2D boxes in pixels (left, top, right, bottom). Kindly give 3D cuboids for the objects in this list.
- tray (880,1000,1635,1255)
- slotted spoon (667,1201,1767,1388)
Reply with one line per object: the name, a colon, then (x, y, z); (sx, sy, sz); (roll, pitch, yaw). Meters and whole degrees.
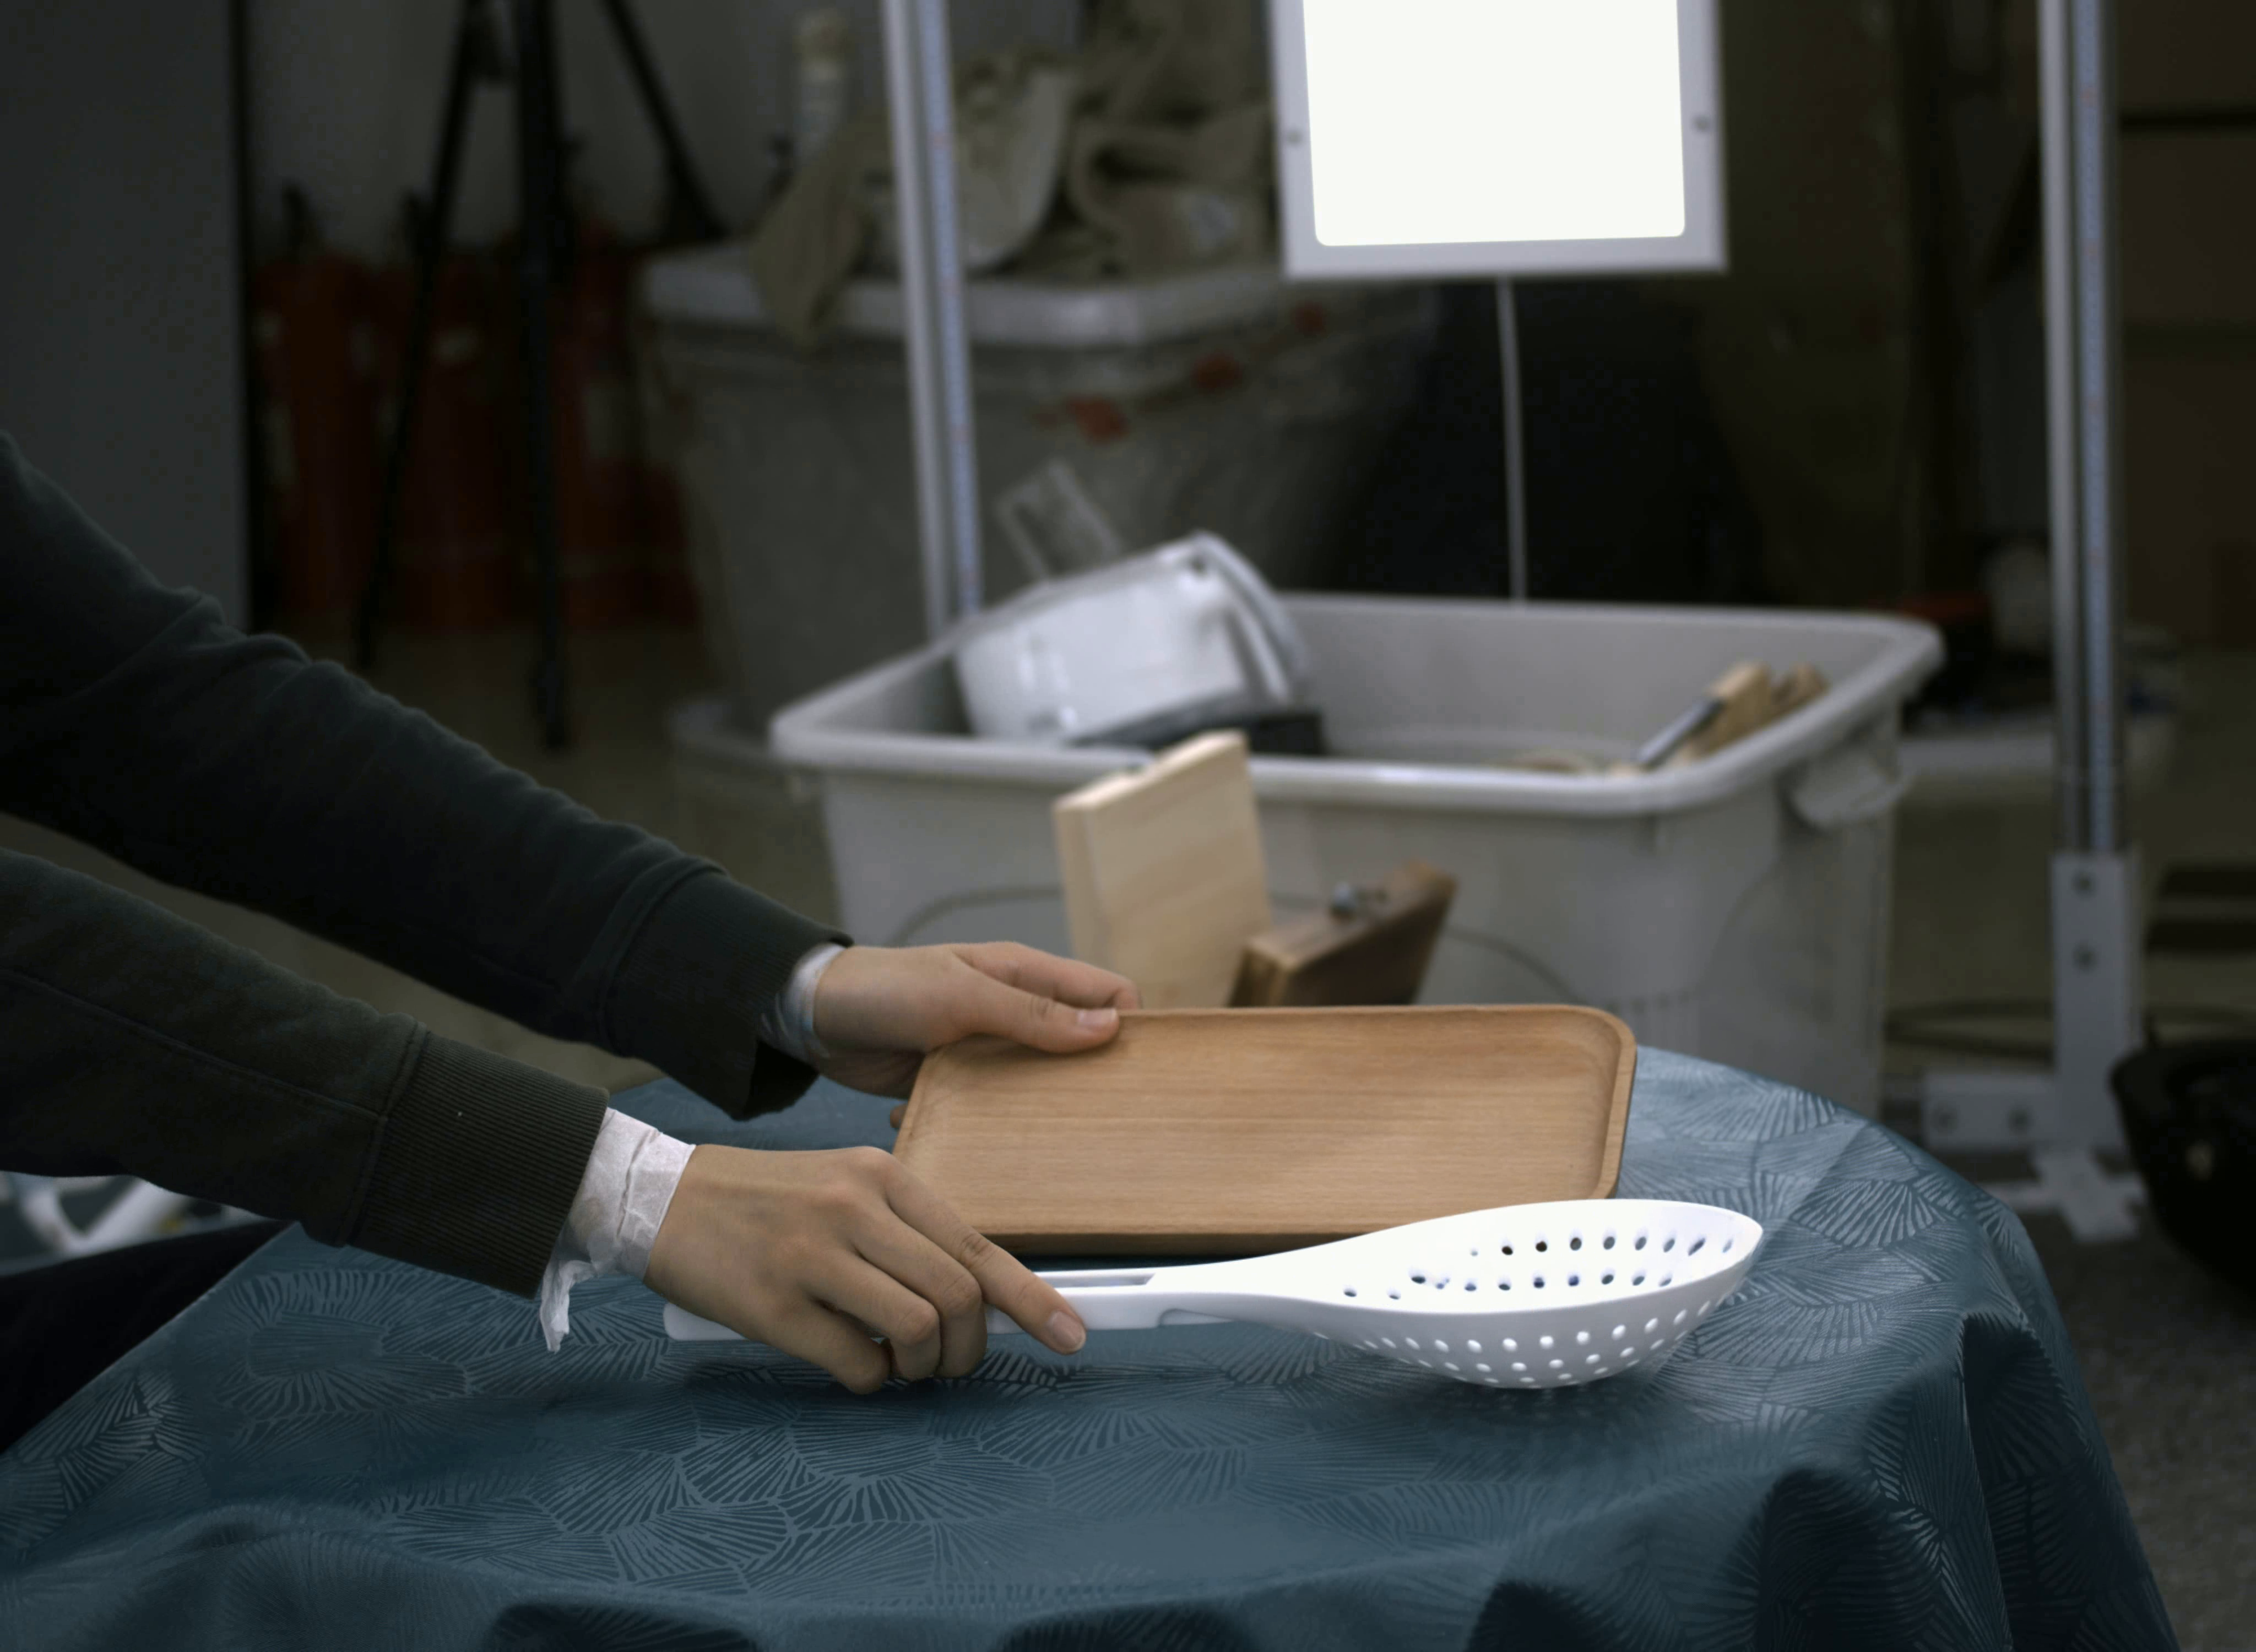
tray: (0.045, 0.103, 1.863); (0.253, 0.023, 0.129); (-2, 32, 15)
slotted spoon: (0.024, 0.144, 1.704); (0.353, 0.046, 0.134); (1, 10, 17)
